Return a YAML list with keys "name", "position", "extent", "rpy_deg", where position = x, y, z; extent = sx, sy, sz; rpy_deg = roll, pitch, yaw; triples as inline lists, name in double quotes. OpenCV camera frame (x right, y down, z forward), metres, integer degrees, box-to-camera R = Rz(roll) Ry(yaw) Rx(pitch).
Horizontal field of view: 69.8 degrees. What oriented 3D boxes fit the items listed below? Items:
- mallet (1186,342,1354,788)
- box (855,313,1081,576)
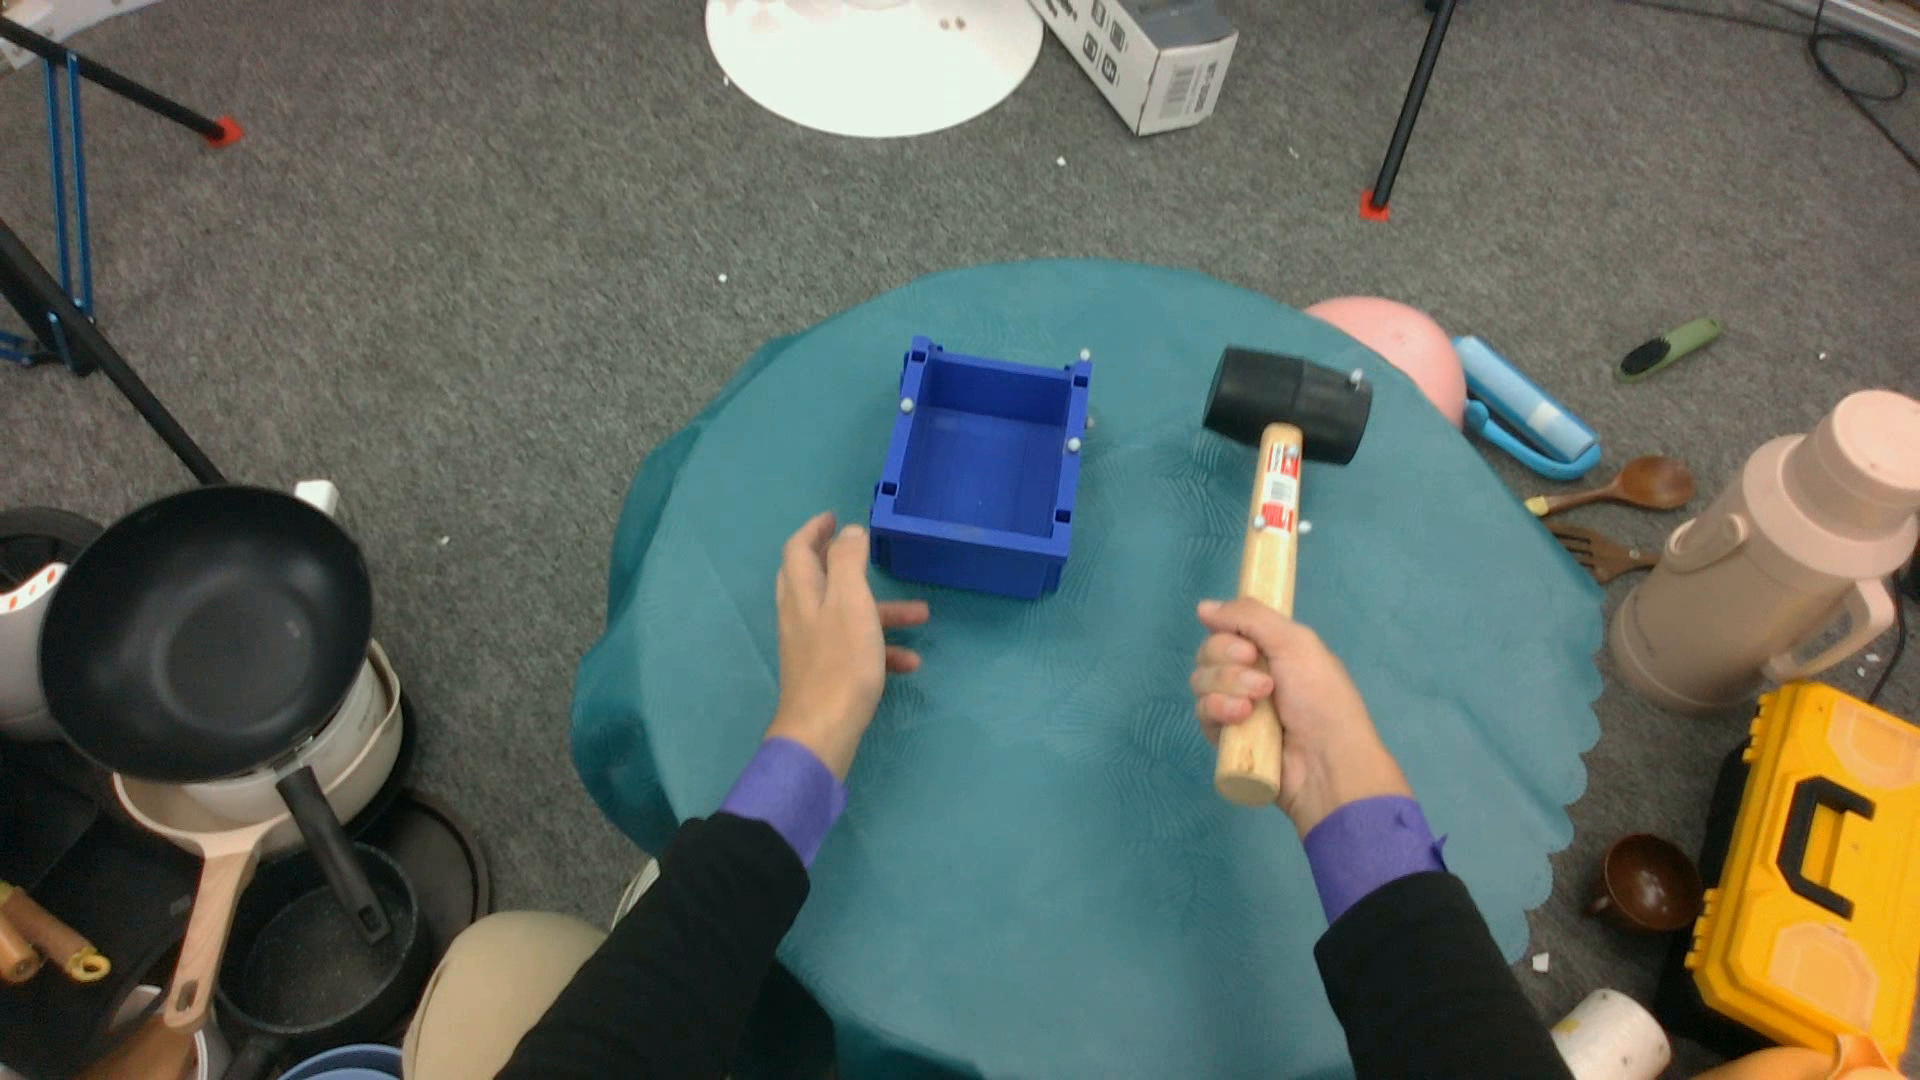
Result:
- name: "mallet"
  position: [0.175, -0.004, 0.806]
  extent: [0.102, 0.064, 0.341]
  rpy_deg: [13, 42, 5]
- name: "box"
  position: [0.007, -0.069, 0.902]
  extent: [0.124, 0.081, 0.180]
  rpy_deg: [10, 61, 2]
